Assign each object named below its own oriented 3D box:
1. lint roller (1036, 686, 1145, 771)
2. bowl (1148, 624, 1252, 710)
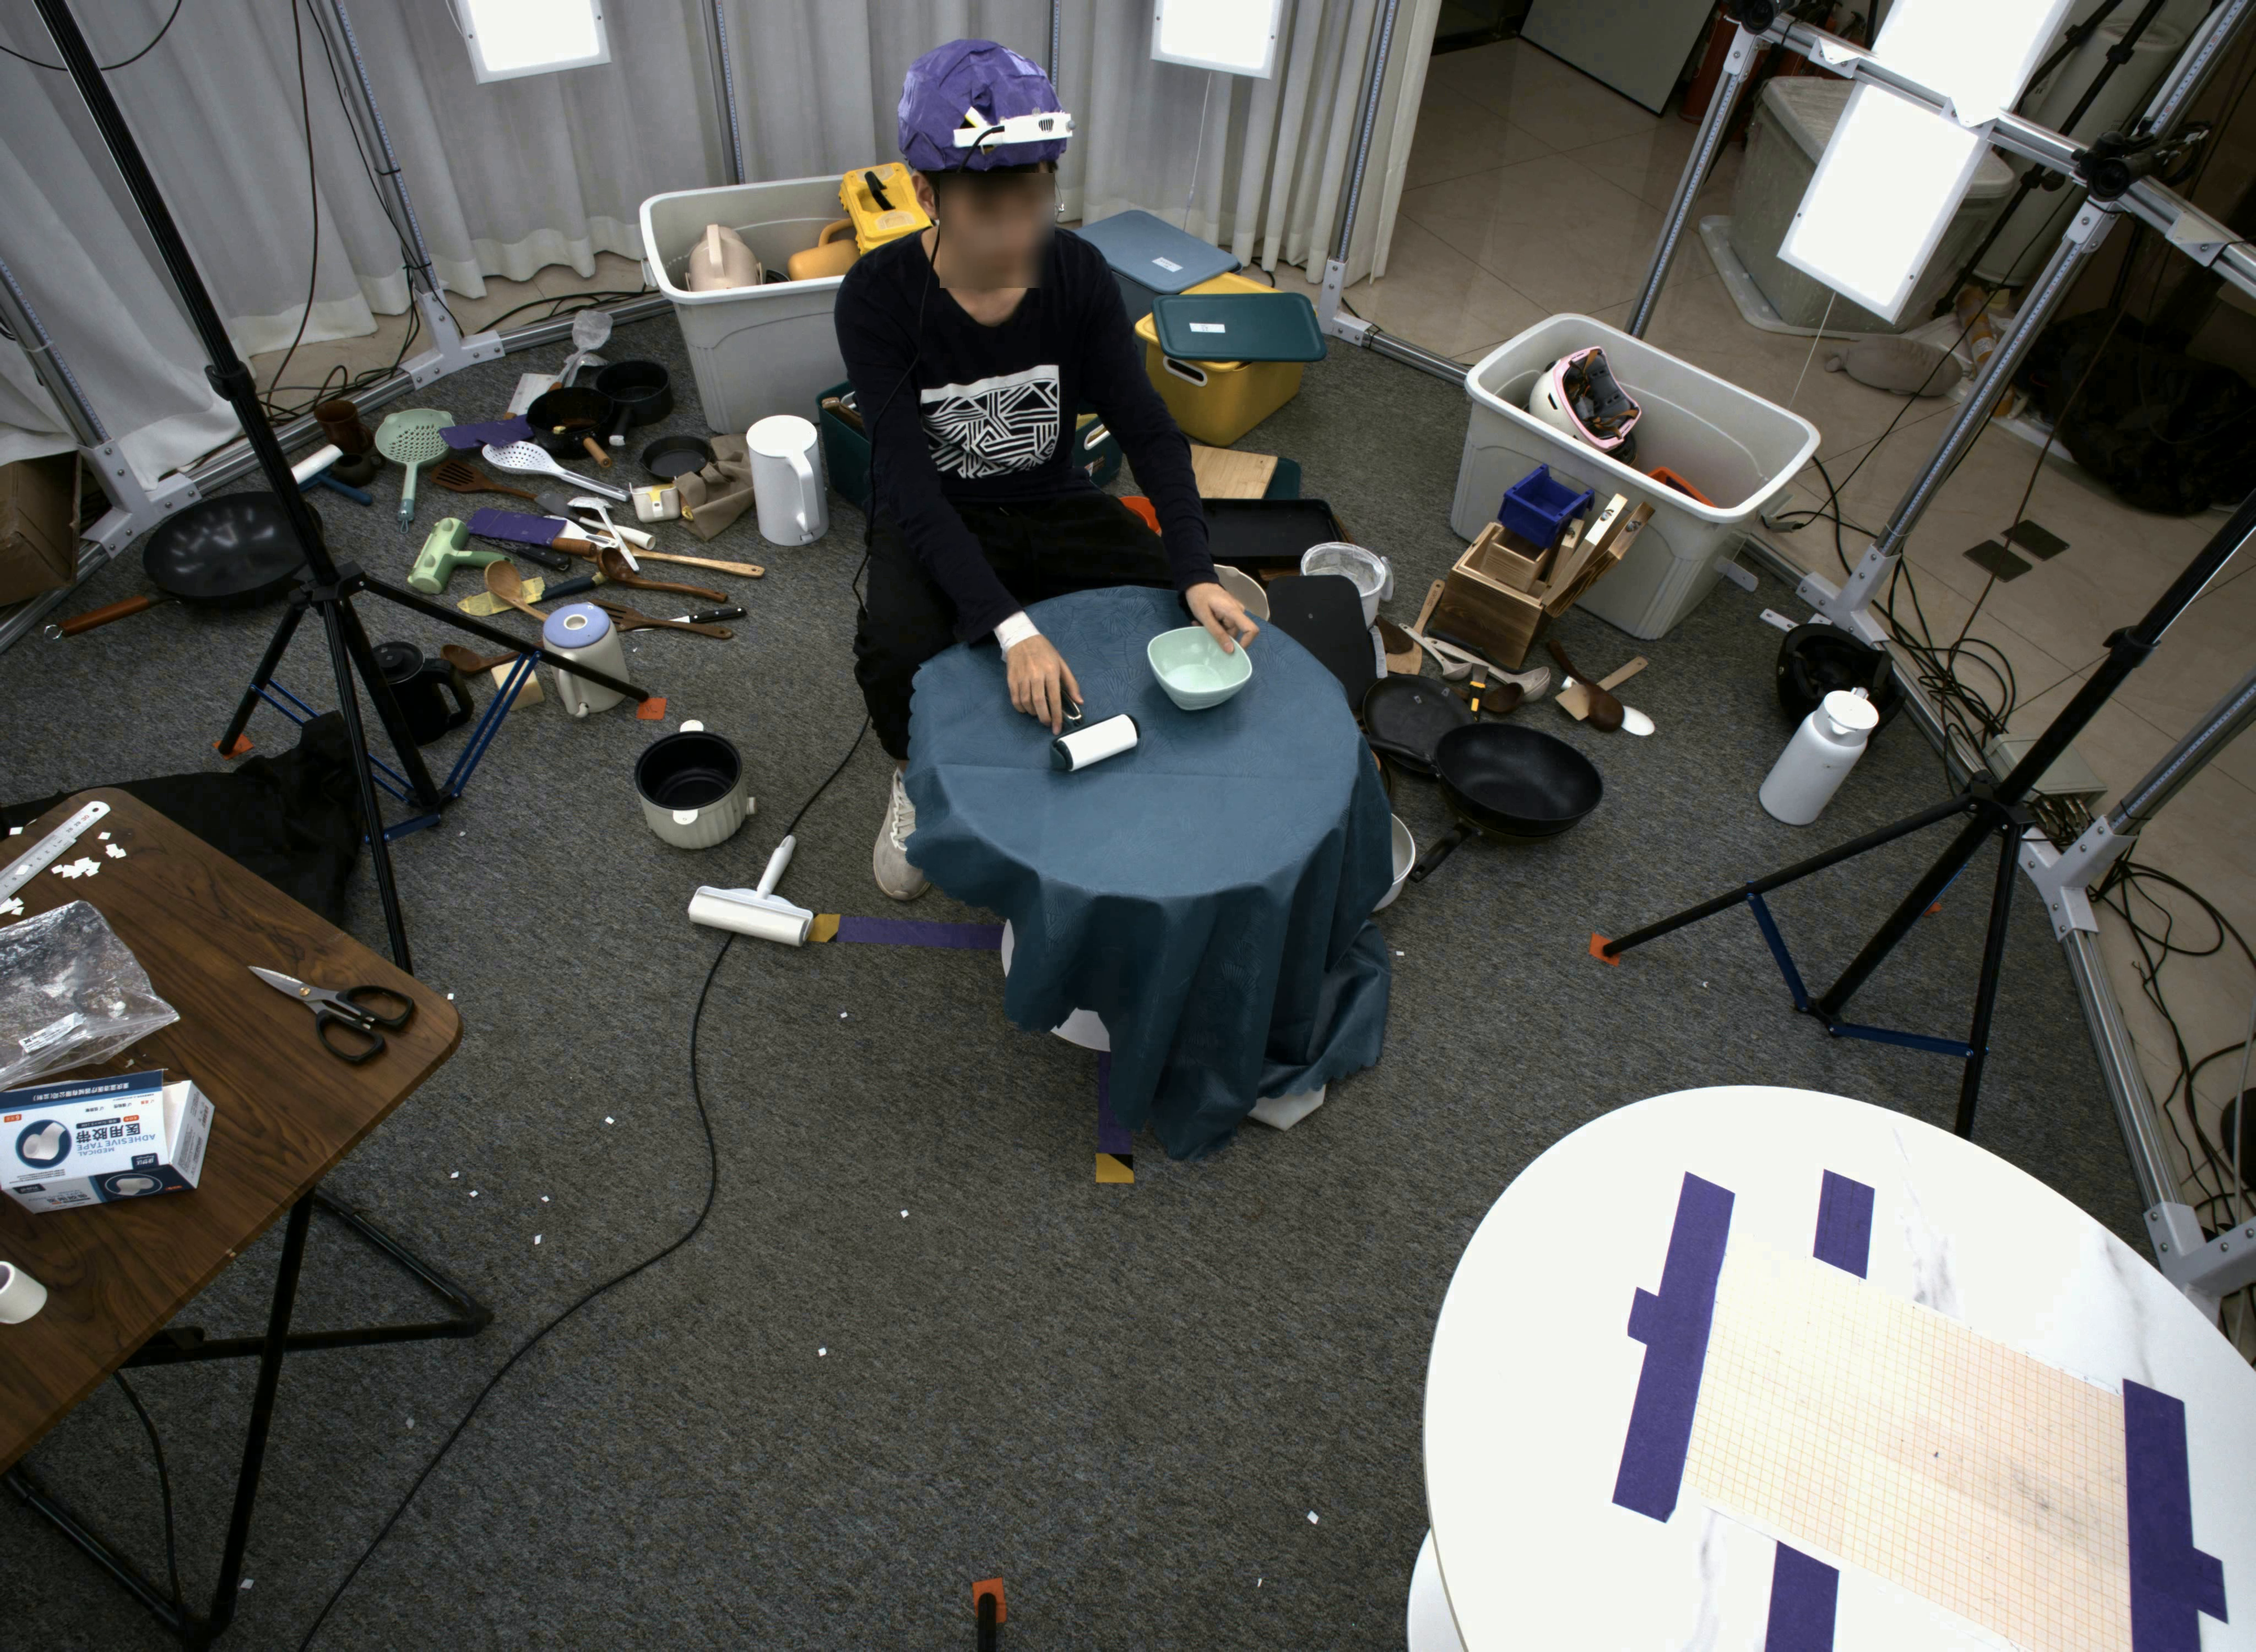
[{"bbox_3d":[-0.077,-0.156,1.771,0.135,0.047,0.184,-23,51,-22],"label":"lint roller"},{"bbox_3d":[0.099,-0.217,1.821,0.151,0.057,0.155,2,50,-3],"label":"bowl"}]
